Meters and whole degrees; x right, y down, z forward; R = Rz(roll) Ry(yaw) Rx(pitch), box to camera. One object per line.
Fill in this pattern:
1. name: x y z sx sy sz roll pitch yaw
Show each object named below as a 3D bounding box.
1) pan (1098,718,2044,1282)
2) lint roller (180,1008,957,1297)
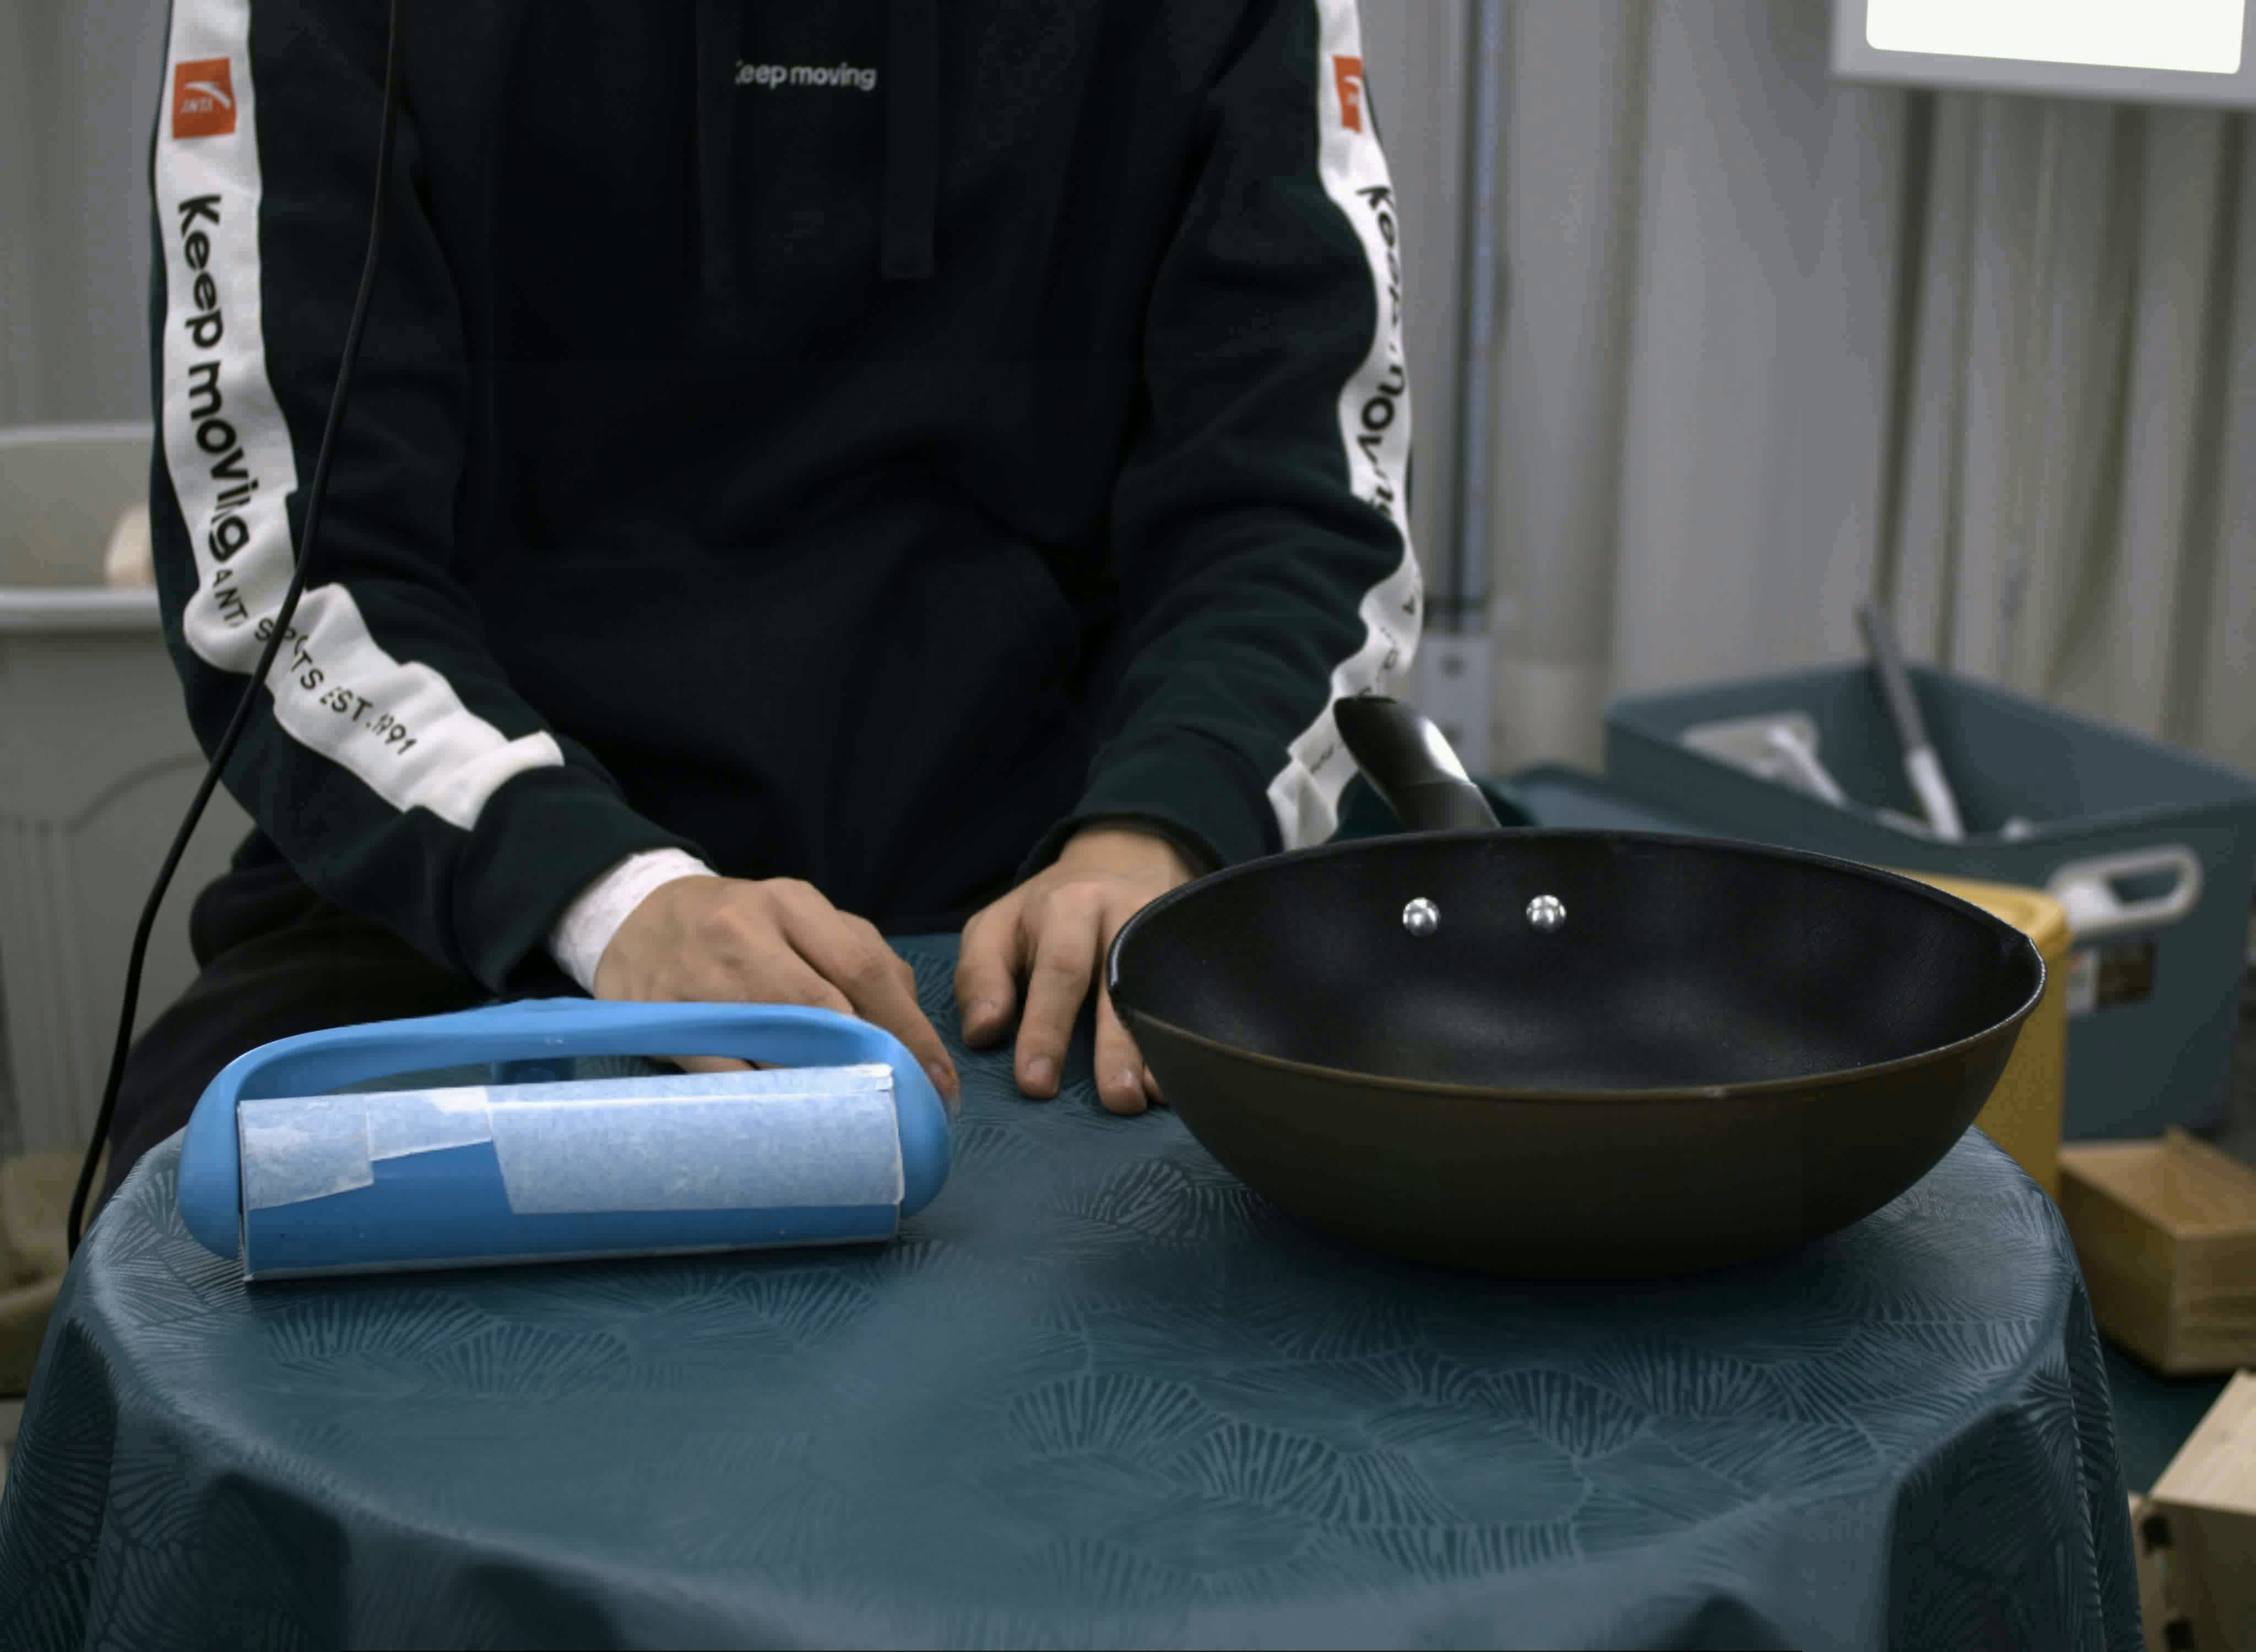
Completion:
1. pan: 0.120 0.053 1.686 0.288 0.087 0.460 -1 14 -9
2. lint roller: -0.178 0.086 1.604 0.229 0.068 0.178 -6 17 -14
